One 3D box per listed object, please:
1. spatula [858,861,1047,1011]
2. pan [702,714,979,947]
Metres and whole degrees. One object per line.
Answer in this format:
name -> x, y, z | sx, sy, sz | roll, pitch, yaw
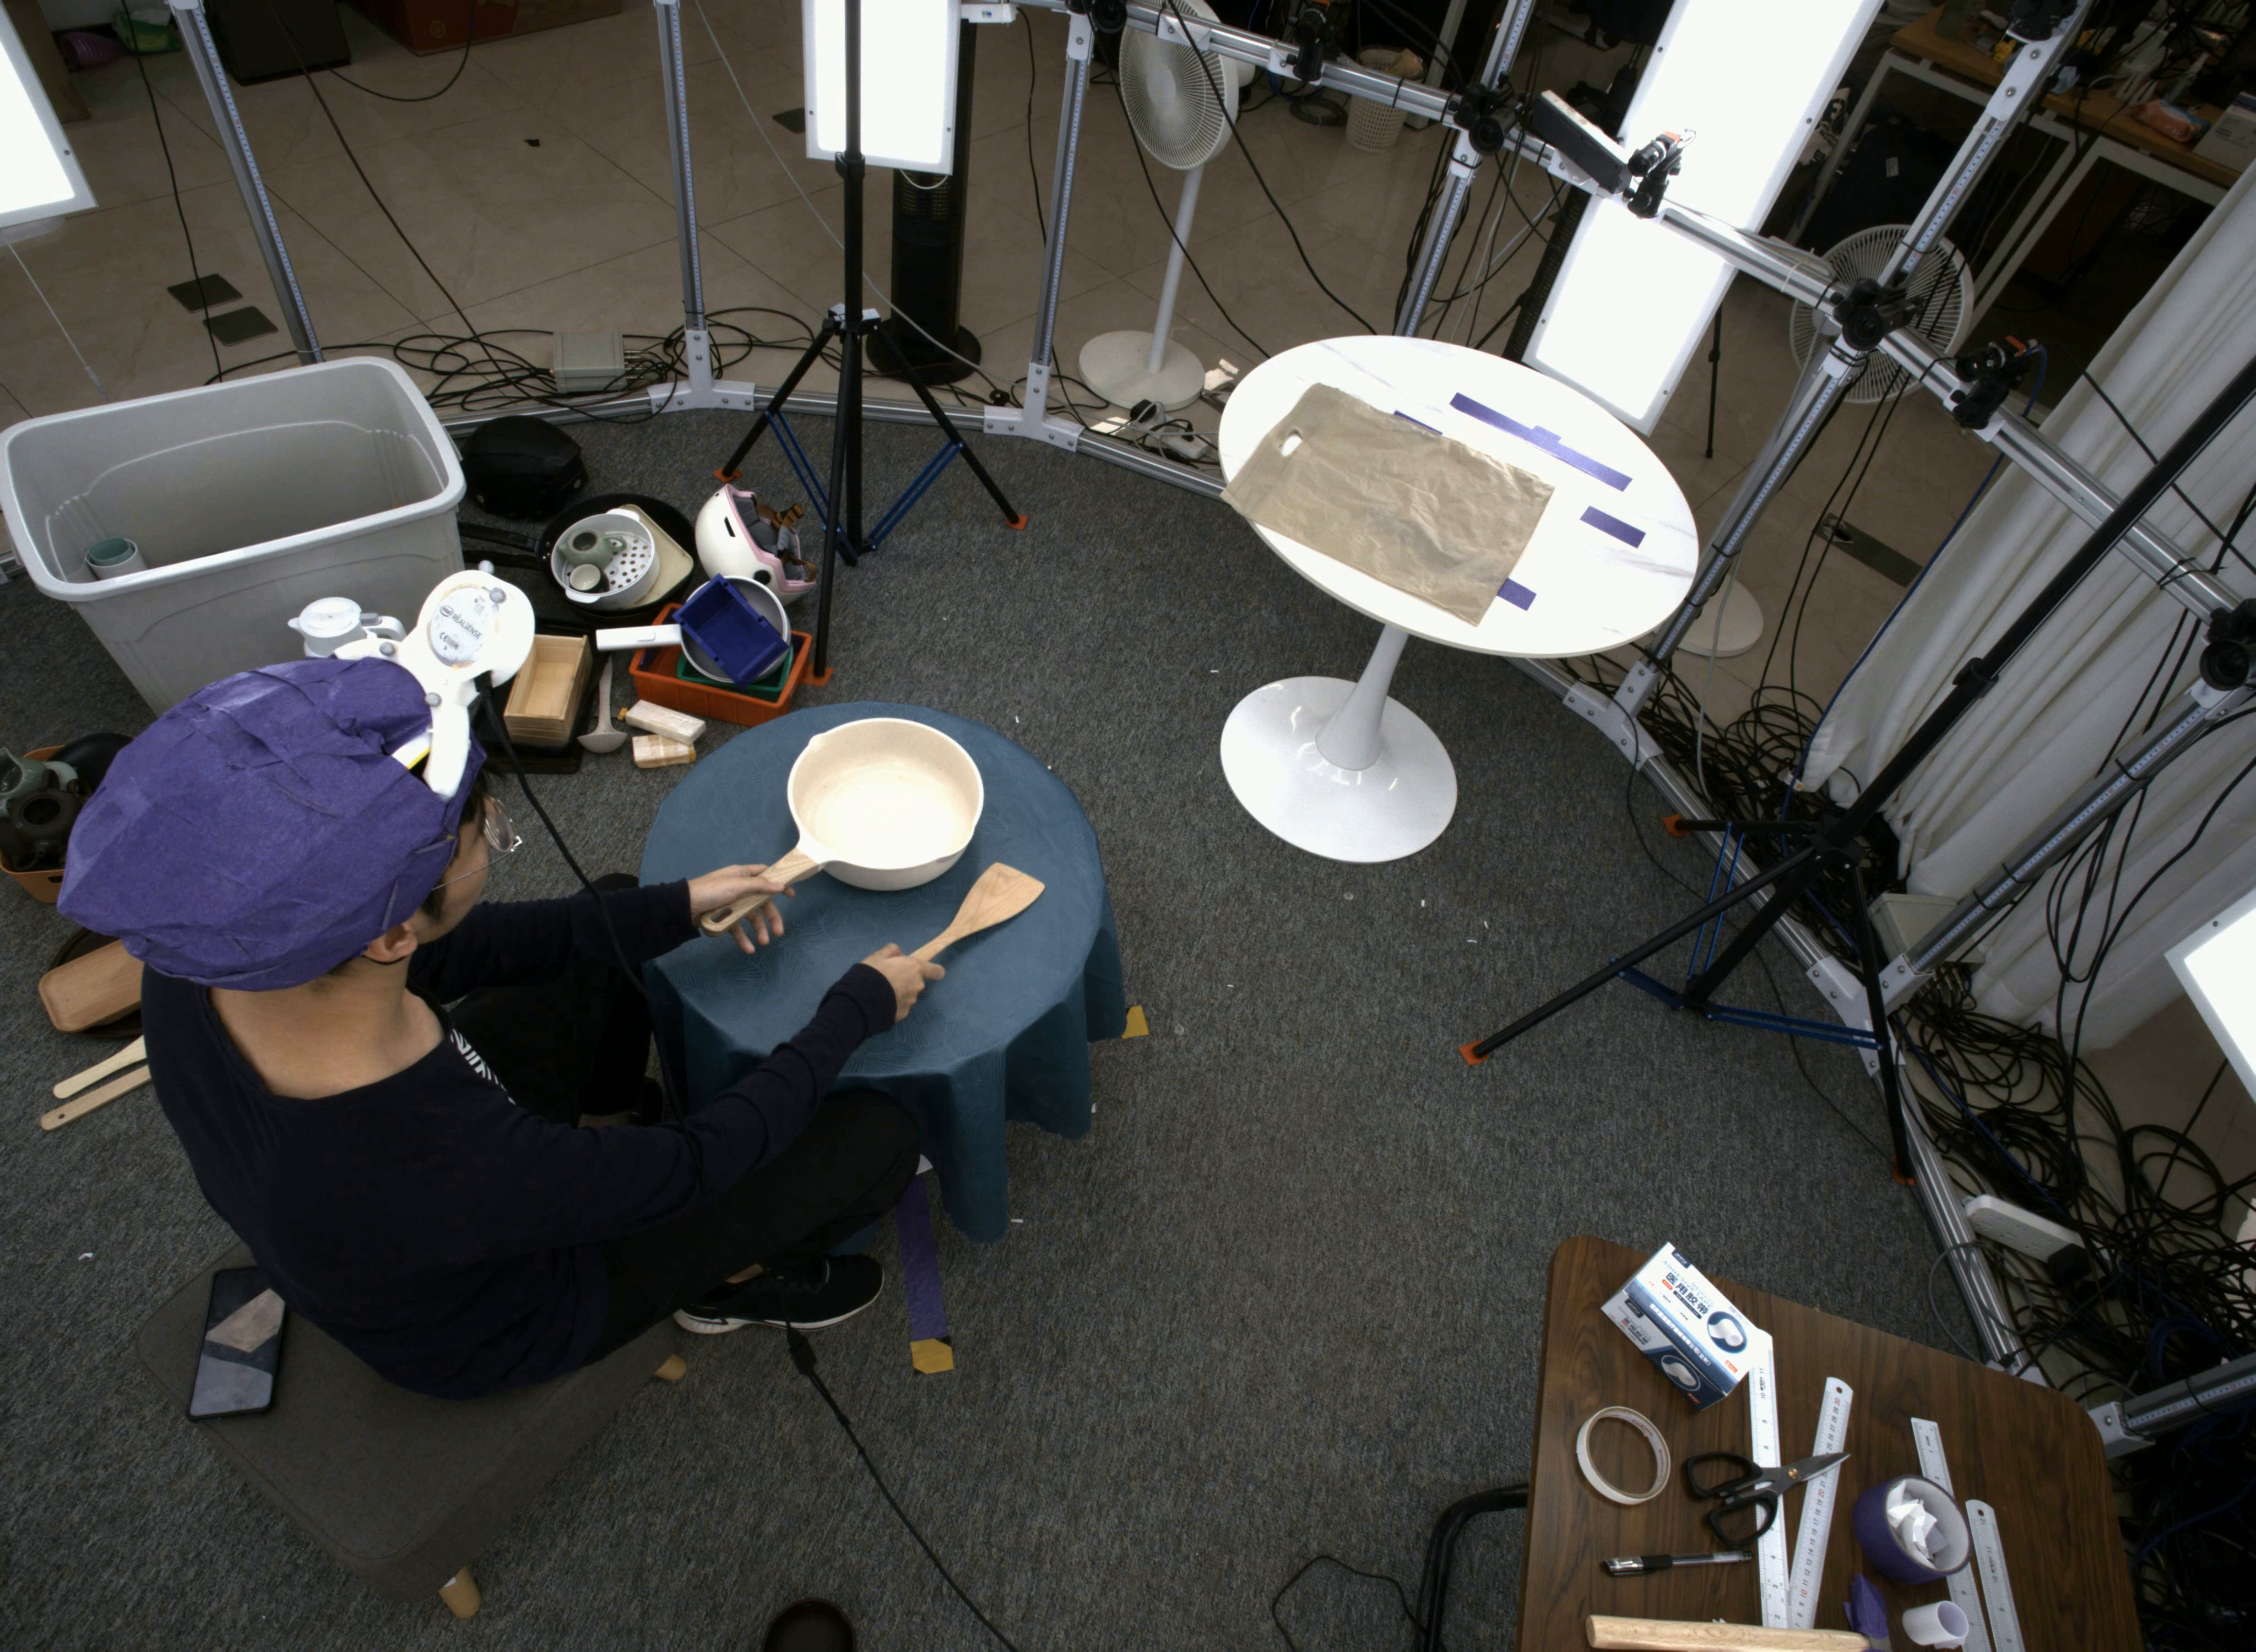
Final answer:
spatula -> -0.224, 0.134, 1.635 | 0.078, 0.017, 0.328 | 35, 42, 14
pan -> -0.374, 0.025, 1.652 | 0.258, 0.104, 0.434 | 35, 54, 12
